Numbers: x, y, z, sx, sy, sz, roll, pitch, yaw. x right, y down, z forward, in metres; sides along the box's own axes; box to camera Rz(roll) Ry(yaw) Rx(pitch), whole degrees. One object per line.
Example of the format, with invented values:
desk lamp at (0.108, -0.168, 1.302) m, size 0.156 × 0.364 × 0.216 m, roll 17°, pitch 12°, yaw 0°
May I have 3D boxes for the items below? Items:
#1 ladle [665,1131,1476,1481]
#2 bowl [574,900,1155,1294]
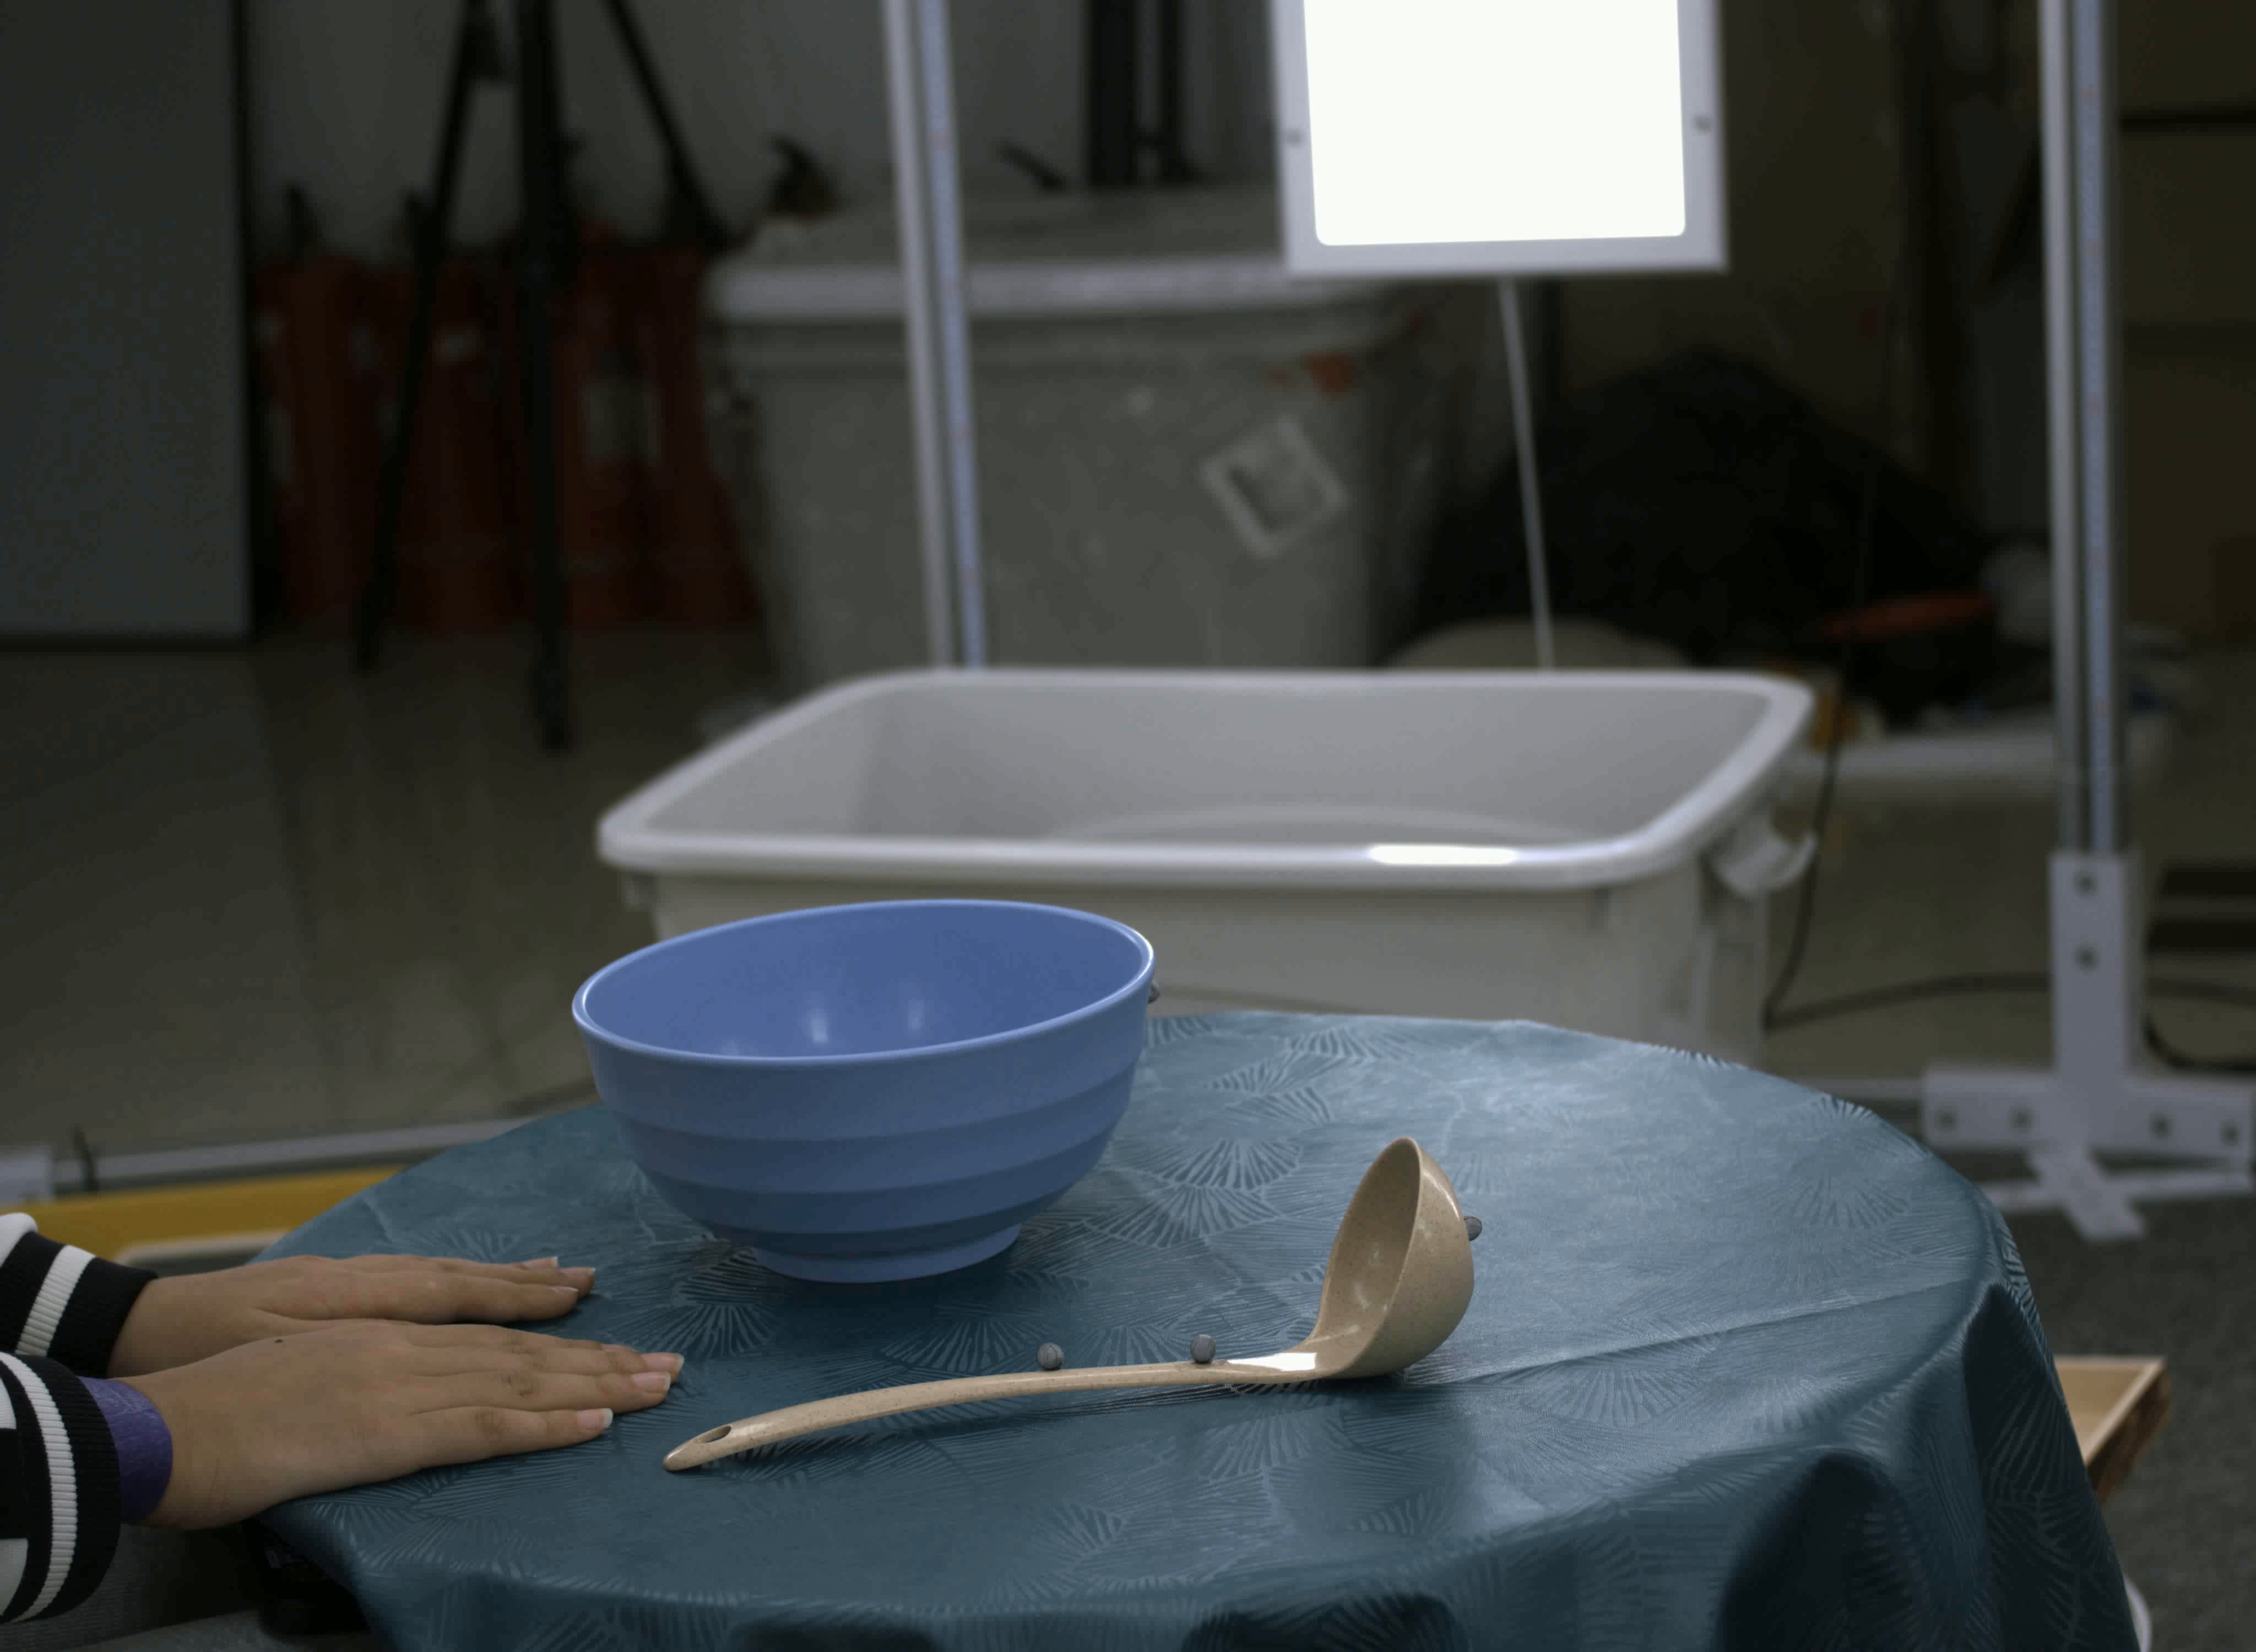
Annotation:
ladle at (-0.019, 0.145, 1.678) m, size 0.251 × 0.073 × 0.072 m, roll -8°, pitch 13°, yaw -10°
bowl at (-0.085, 0.098, 1.860) m, size 0.196 × 0.096 × 0.196 m, roll -5°, pitch 15°, yaw 0°
